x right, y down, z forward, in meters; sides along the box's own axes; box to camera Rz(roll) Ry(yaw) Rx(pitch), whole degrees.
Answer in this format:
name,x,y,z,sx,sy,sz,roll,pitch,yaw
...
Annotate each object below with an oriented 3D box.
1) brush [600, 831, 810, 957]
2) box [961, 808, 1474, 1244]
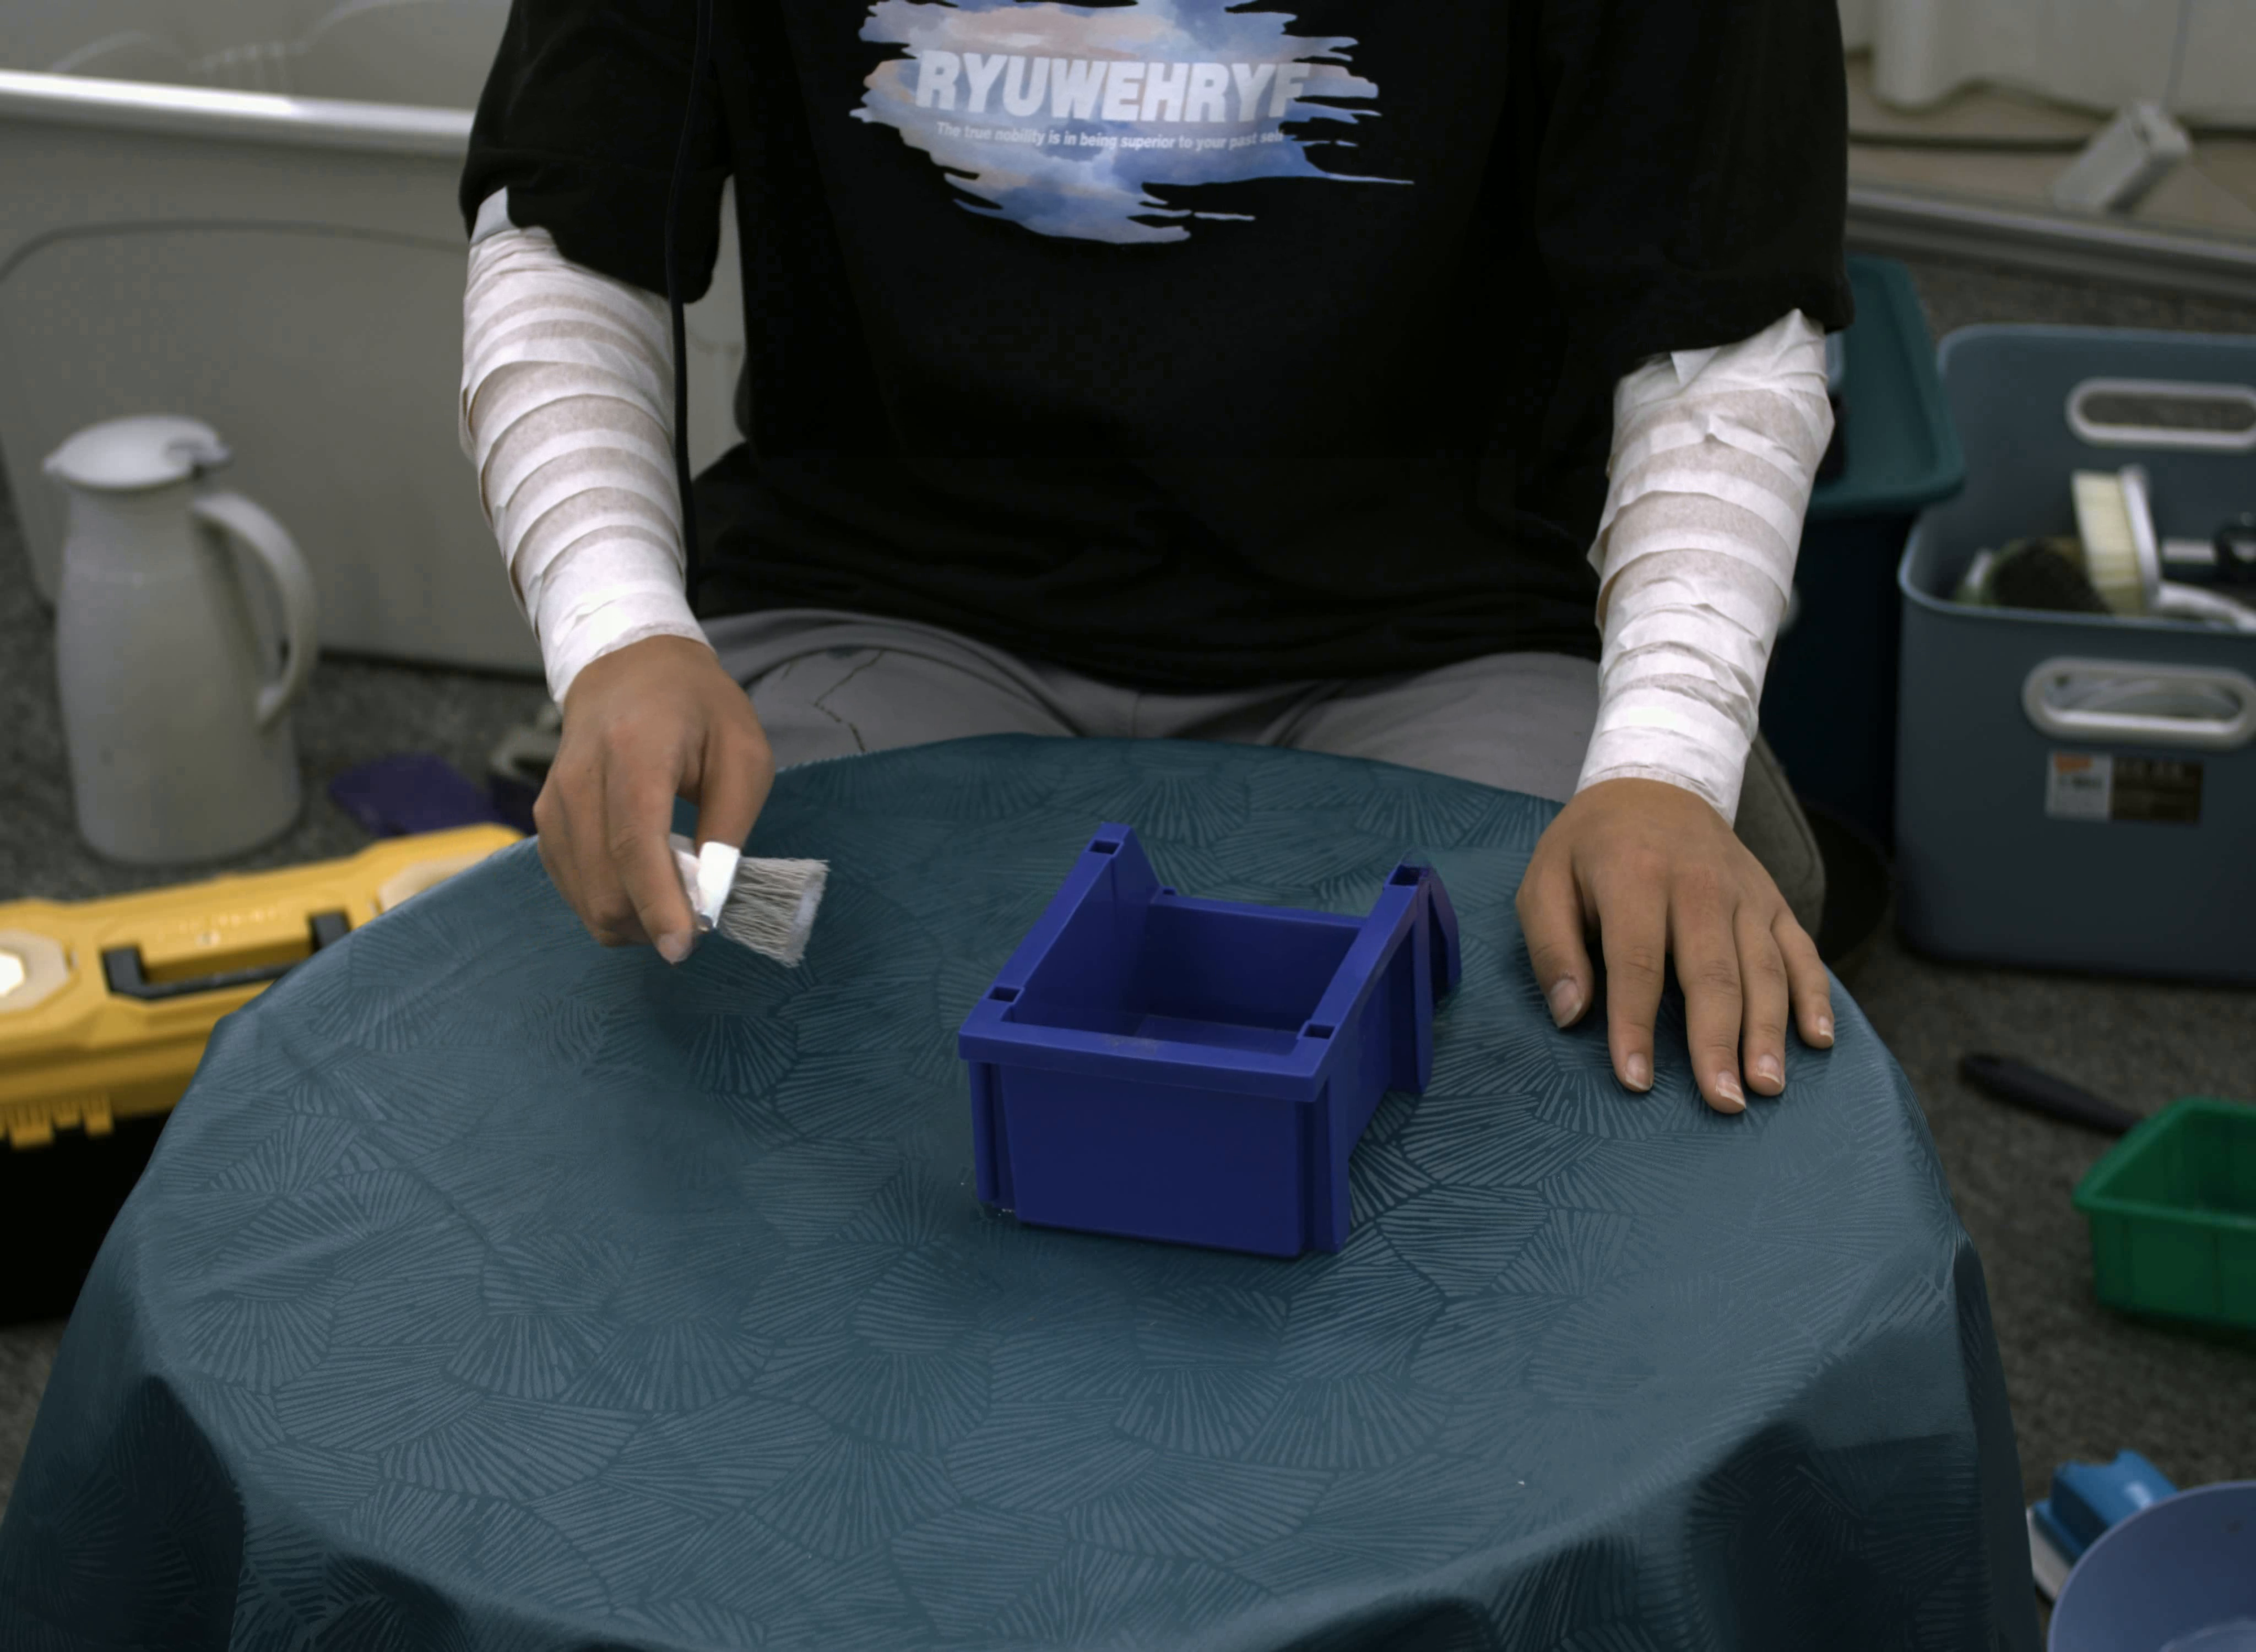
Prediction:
name,x,y,z,sx,sy,sz,roll,pitch,yaw
brush,-0.144,0.021,1.925,0.050,0.034,0.243,15,-2,-12
box,0.031,0.062,1.888,0.123,0.081,0.182,6,30,18
